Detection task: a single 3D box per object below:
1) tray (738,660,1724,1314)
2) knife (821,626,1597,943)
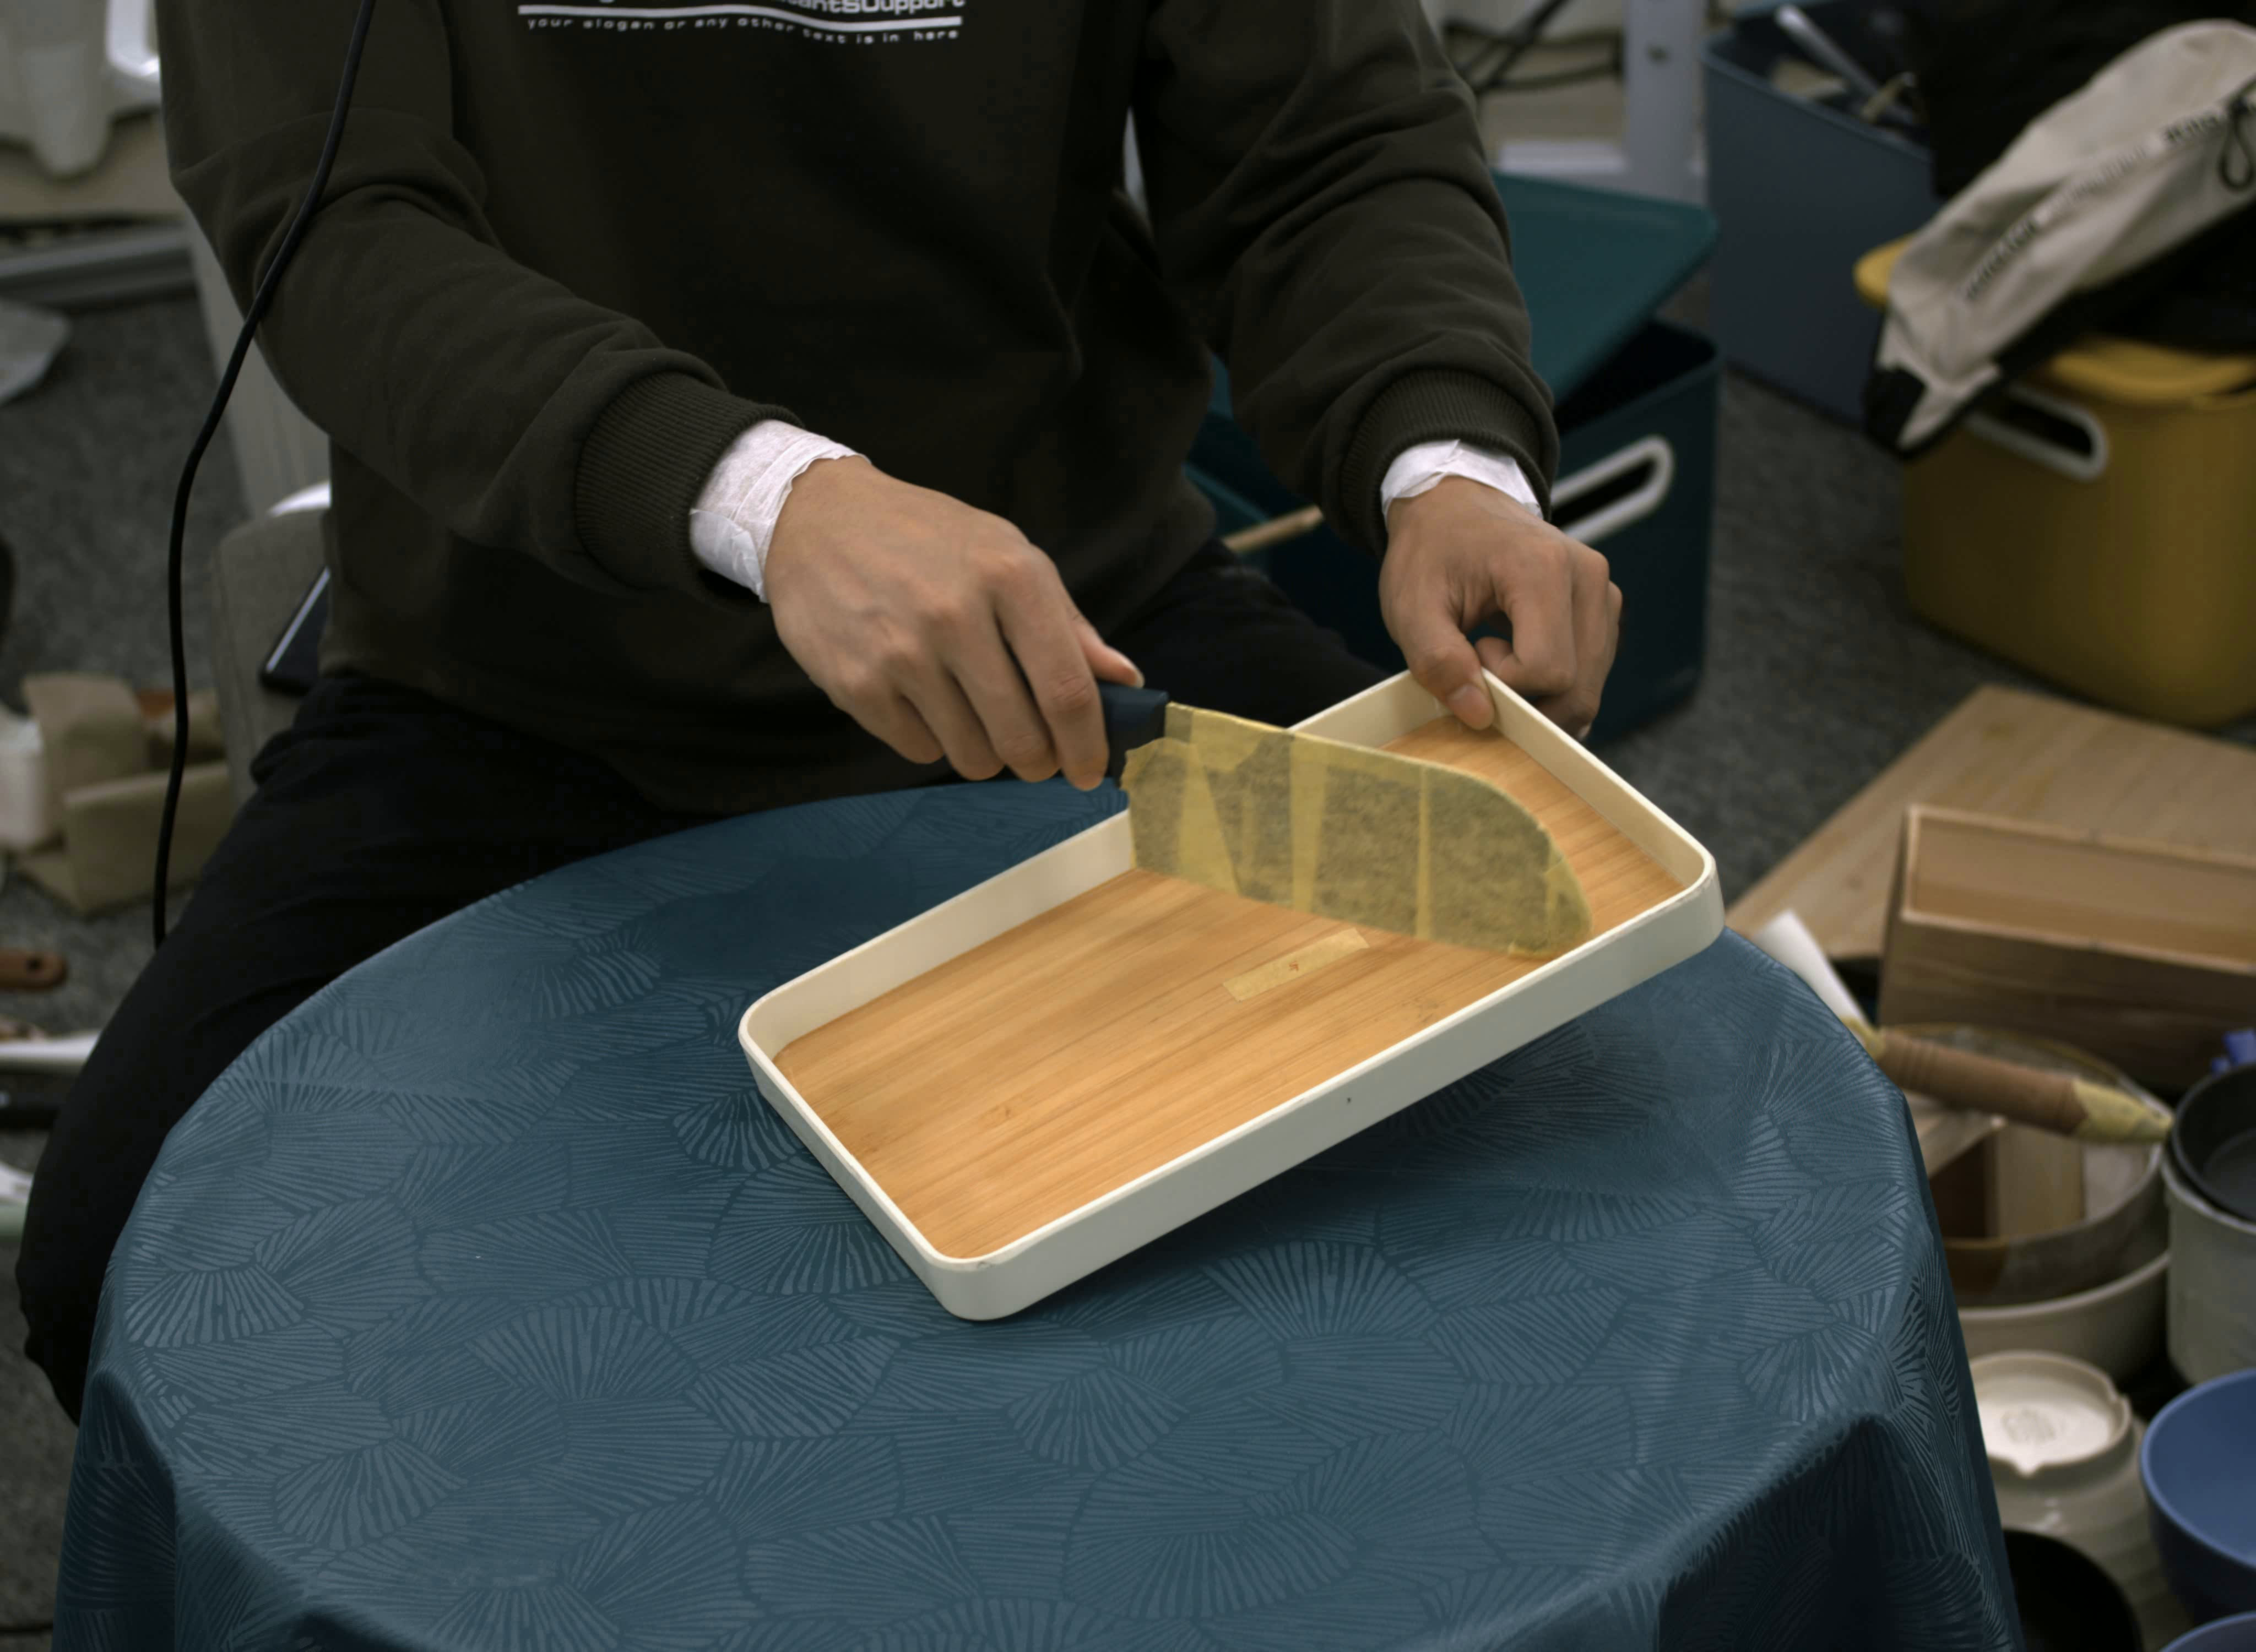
[{"bbox_3d":[0.033,0.049,1.897,0.302,0.027,0.193,-26,34,-16],"label":"tray"},{"bbox_3d":[0.025,-0.015,1.905,0.288,0.080,0.028,17,34,20],"label":"knife"}]
